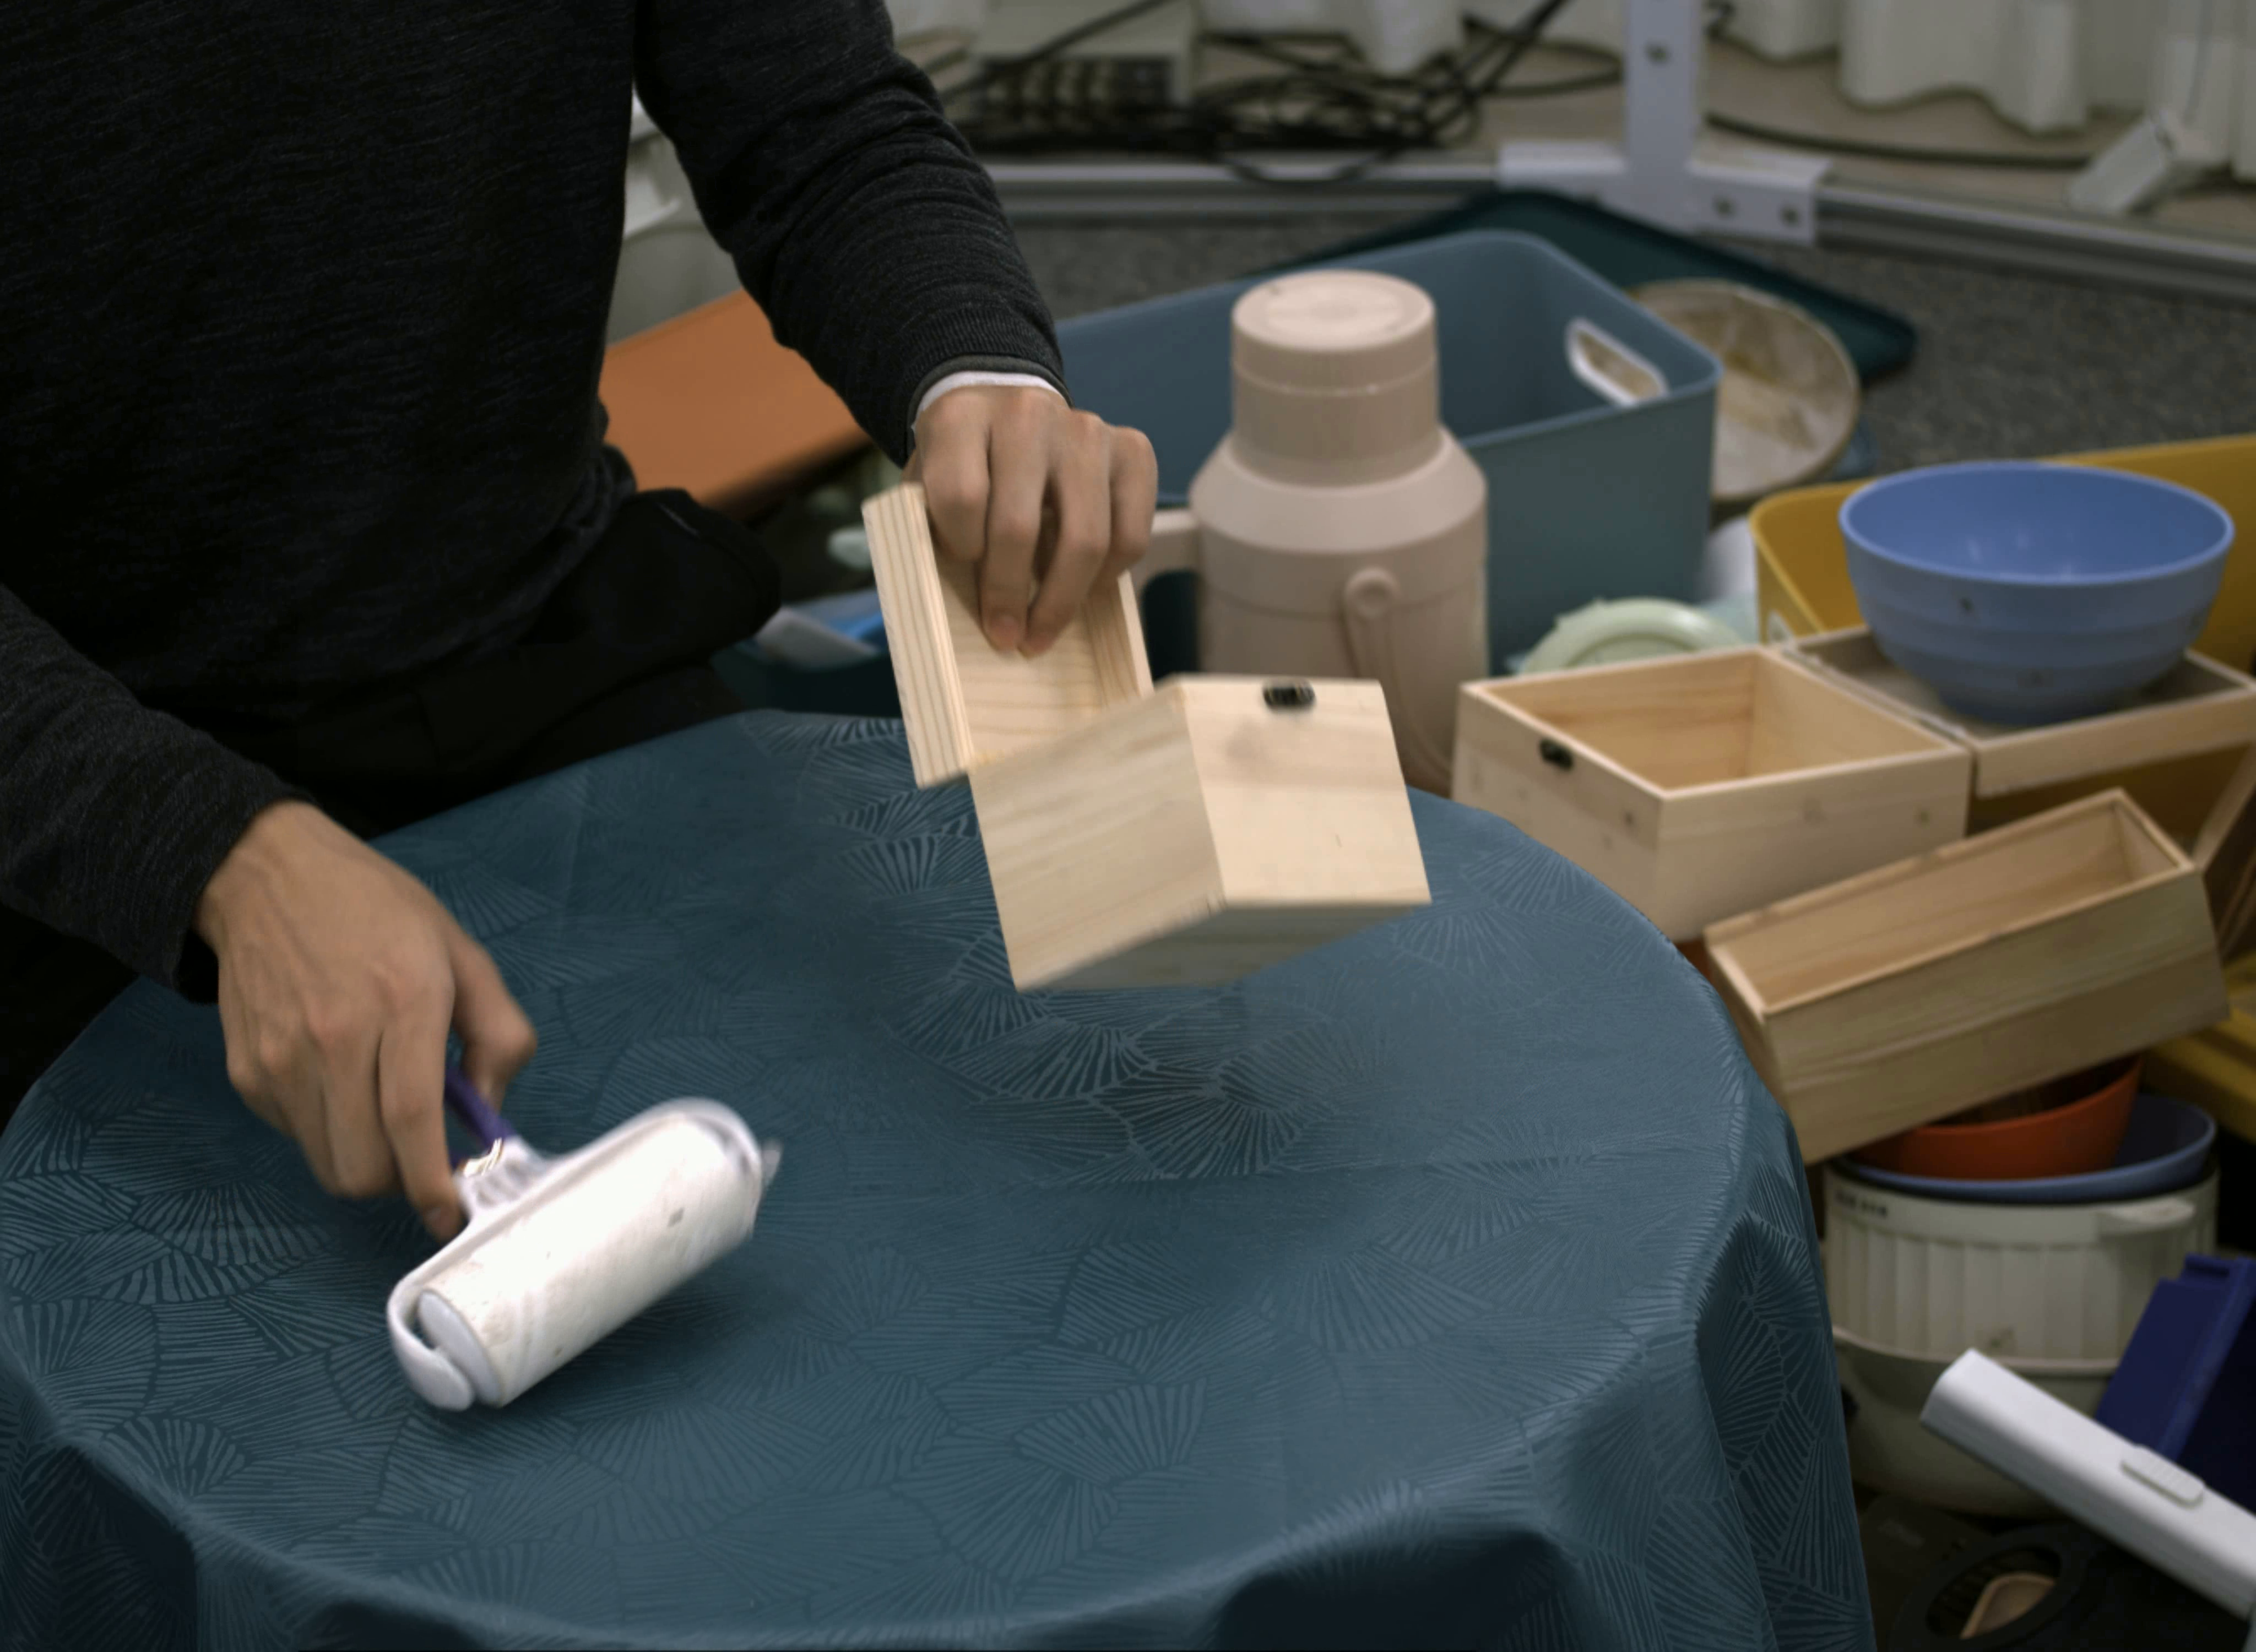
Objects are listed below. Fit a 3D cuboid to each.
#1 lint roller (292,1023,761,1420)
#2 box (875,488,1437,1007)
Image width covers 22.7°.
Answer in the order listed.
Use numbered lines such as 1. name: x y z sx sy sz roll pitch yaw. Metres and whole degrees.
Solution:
1. lint roller: -0.214 0.107 1.809 0.134 0.049 0.182 -29 53 -26
2. box: 0.009 -0.039 1.887 0.103 0.186 0.132 1 -18 -46
